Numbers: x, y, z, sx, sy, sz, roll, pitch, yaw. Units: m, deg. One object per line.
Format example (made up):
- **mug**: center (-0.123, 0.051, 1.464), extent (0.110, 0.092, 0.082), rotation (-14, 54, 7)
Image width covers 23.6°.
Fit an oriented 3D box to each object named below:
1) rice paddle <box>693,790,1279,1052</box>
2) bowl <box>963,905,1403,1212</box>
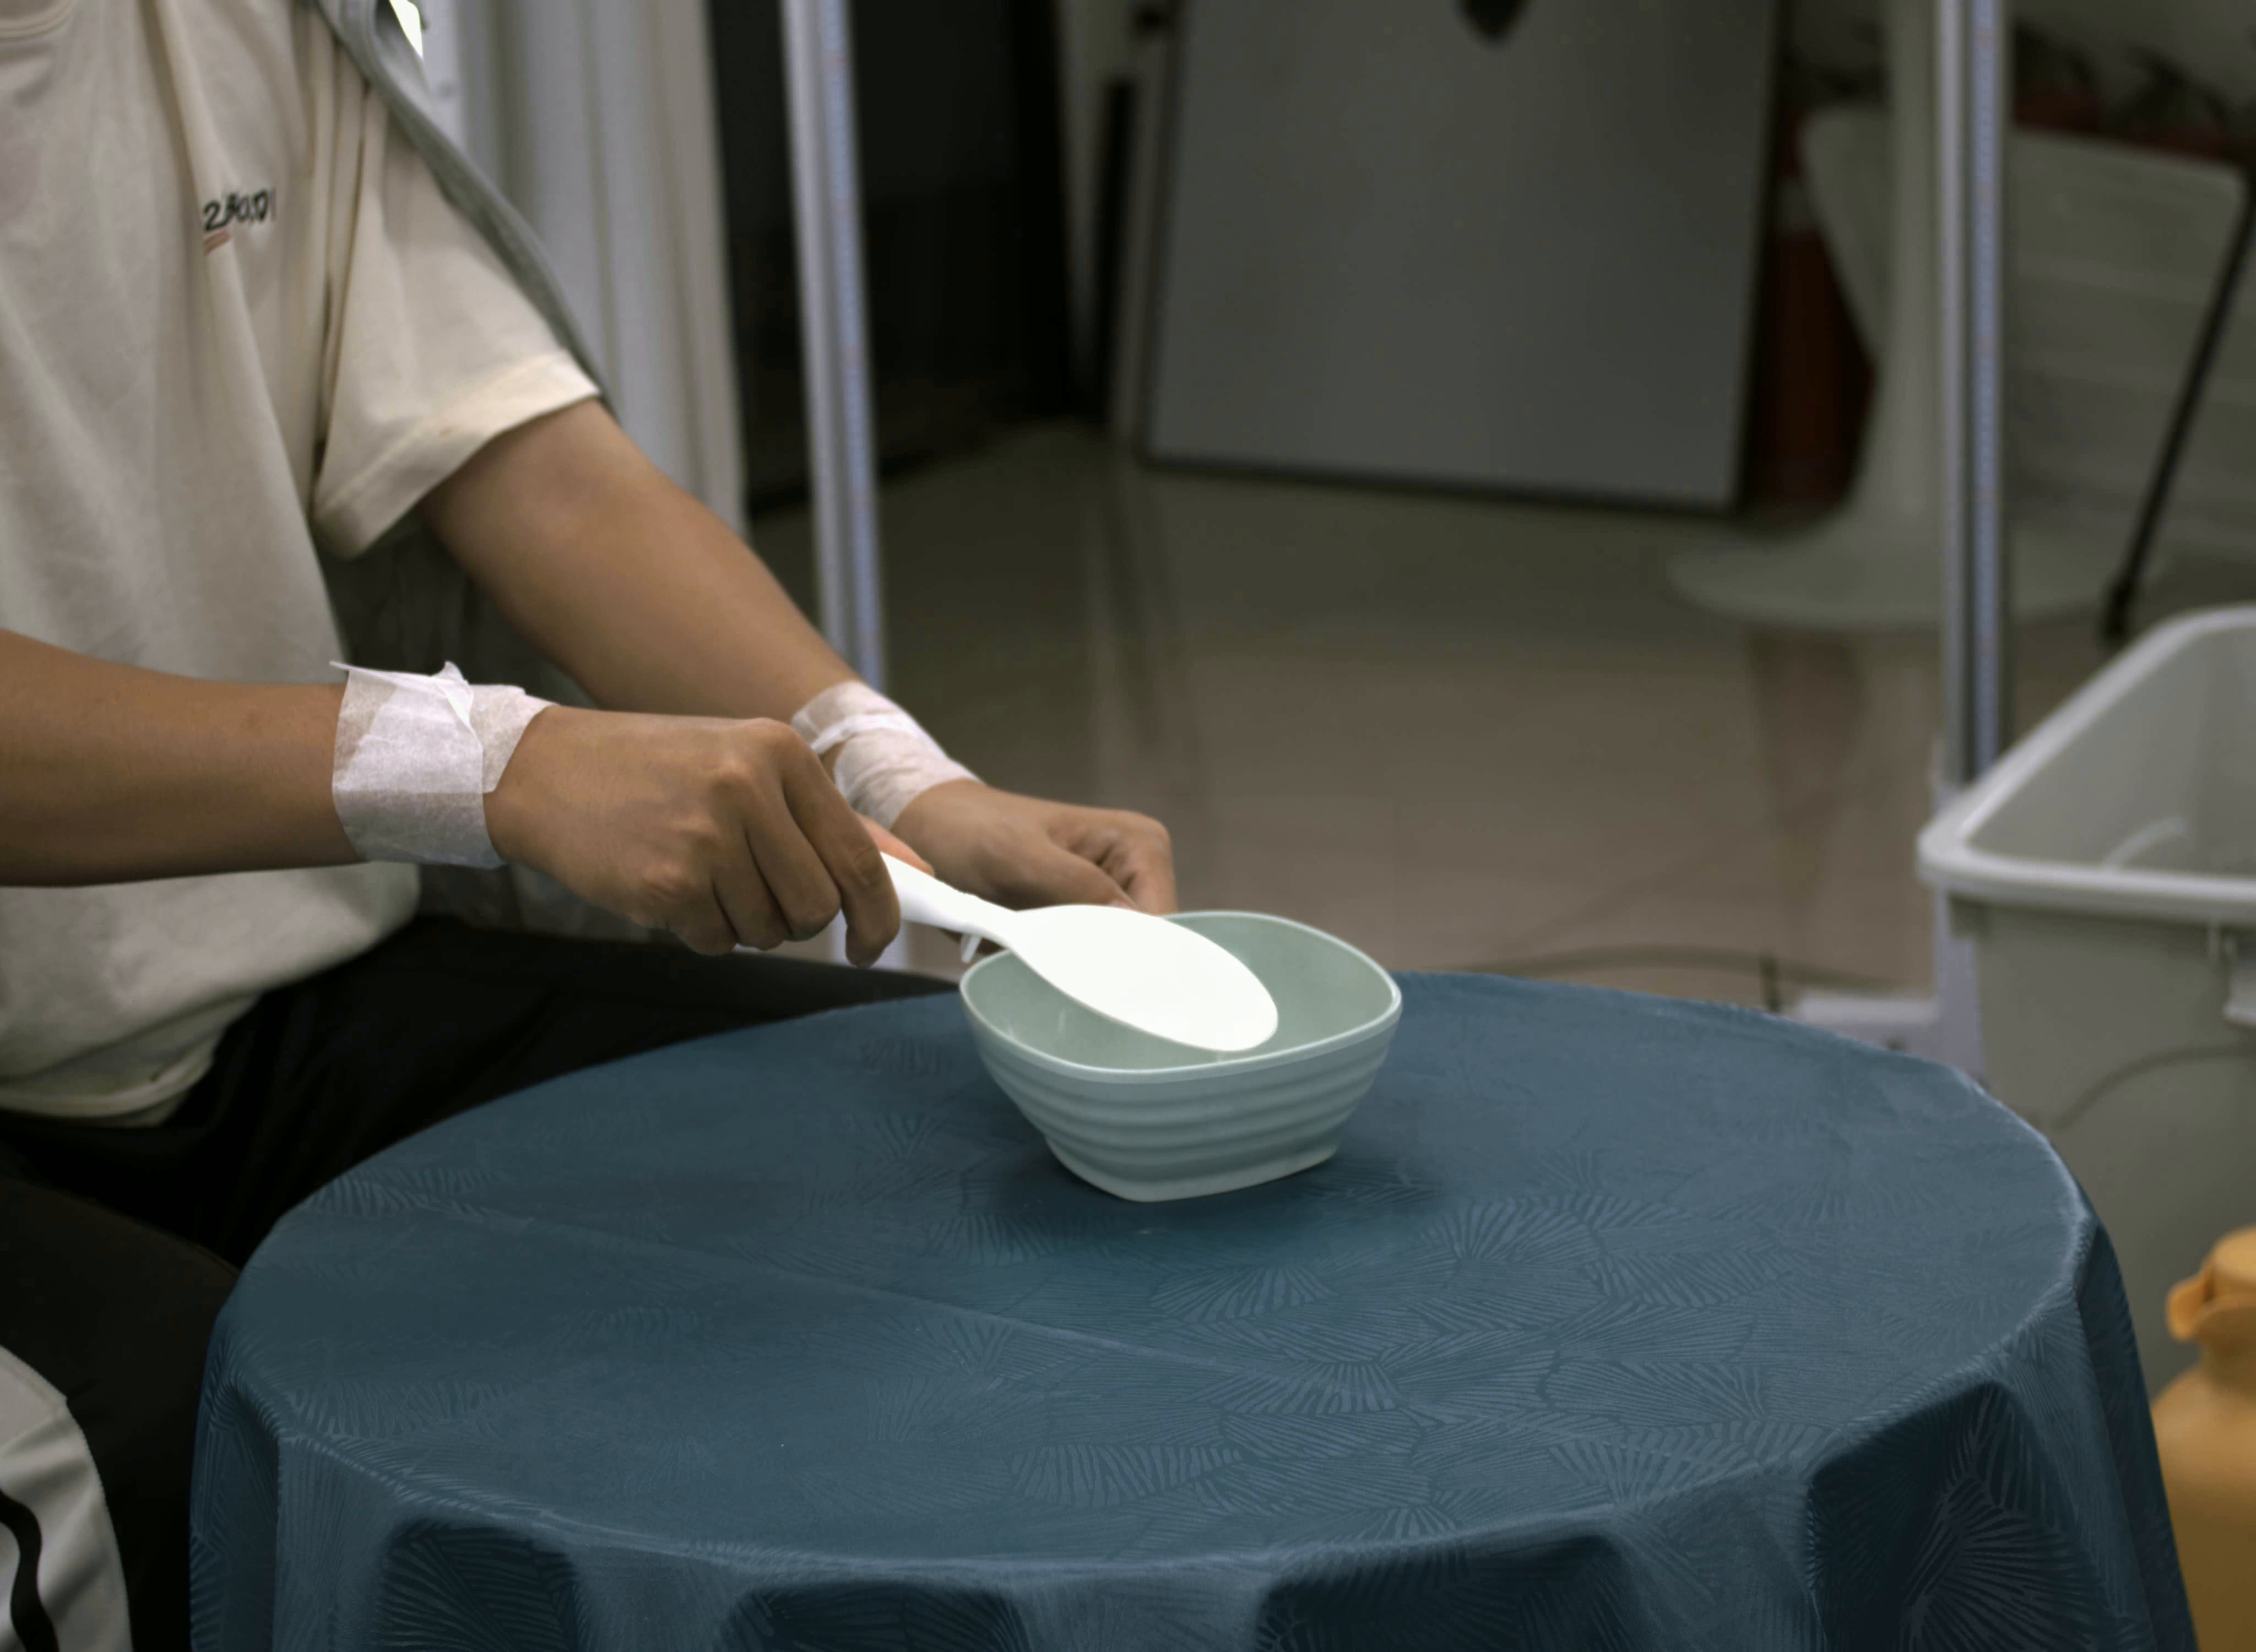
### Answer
- **rice paddle**: center (-0.042, 0.032, 1.764), extent (0.202, 0.030, 0.069), rotation (18, 32, -13)
- **bowl**: center (0.018, 0.082, 1.795), extent (0.149, 0.059, 0.152), rotation (-2, 21, 0)
